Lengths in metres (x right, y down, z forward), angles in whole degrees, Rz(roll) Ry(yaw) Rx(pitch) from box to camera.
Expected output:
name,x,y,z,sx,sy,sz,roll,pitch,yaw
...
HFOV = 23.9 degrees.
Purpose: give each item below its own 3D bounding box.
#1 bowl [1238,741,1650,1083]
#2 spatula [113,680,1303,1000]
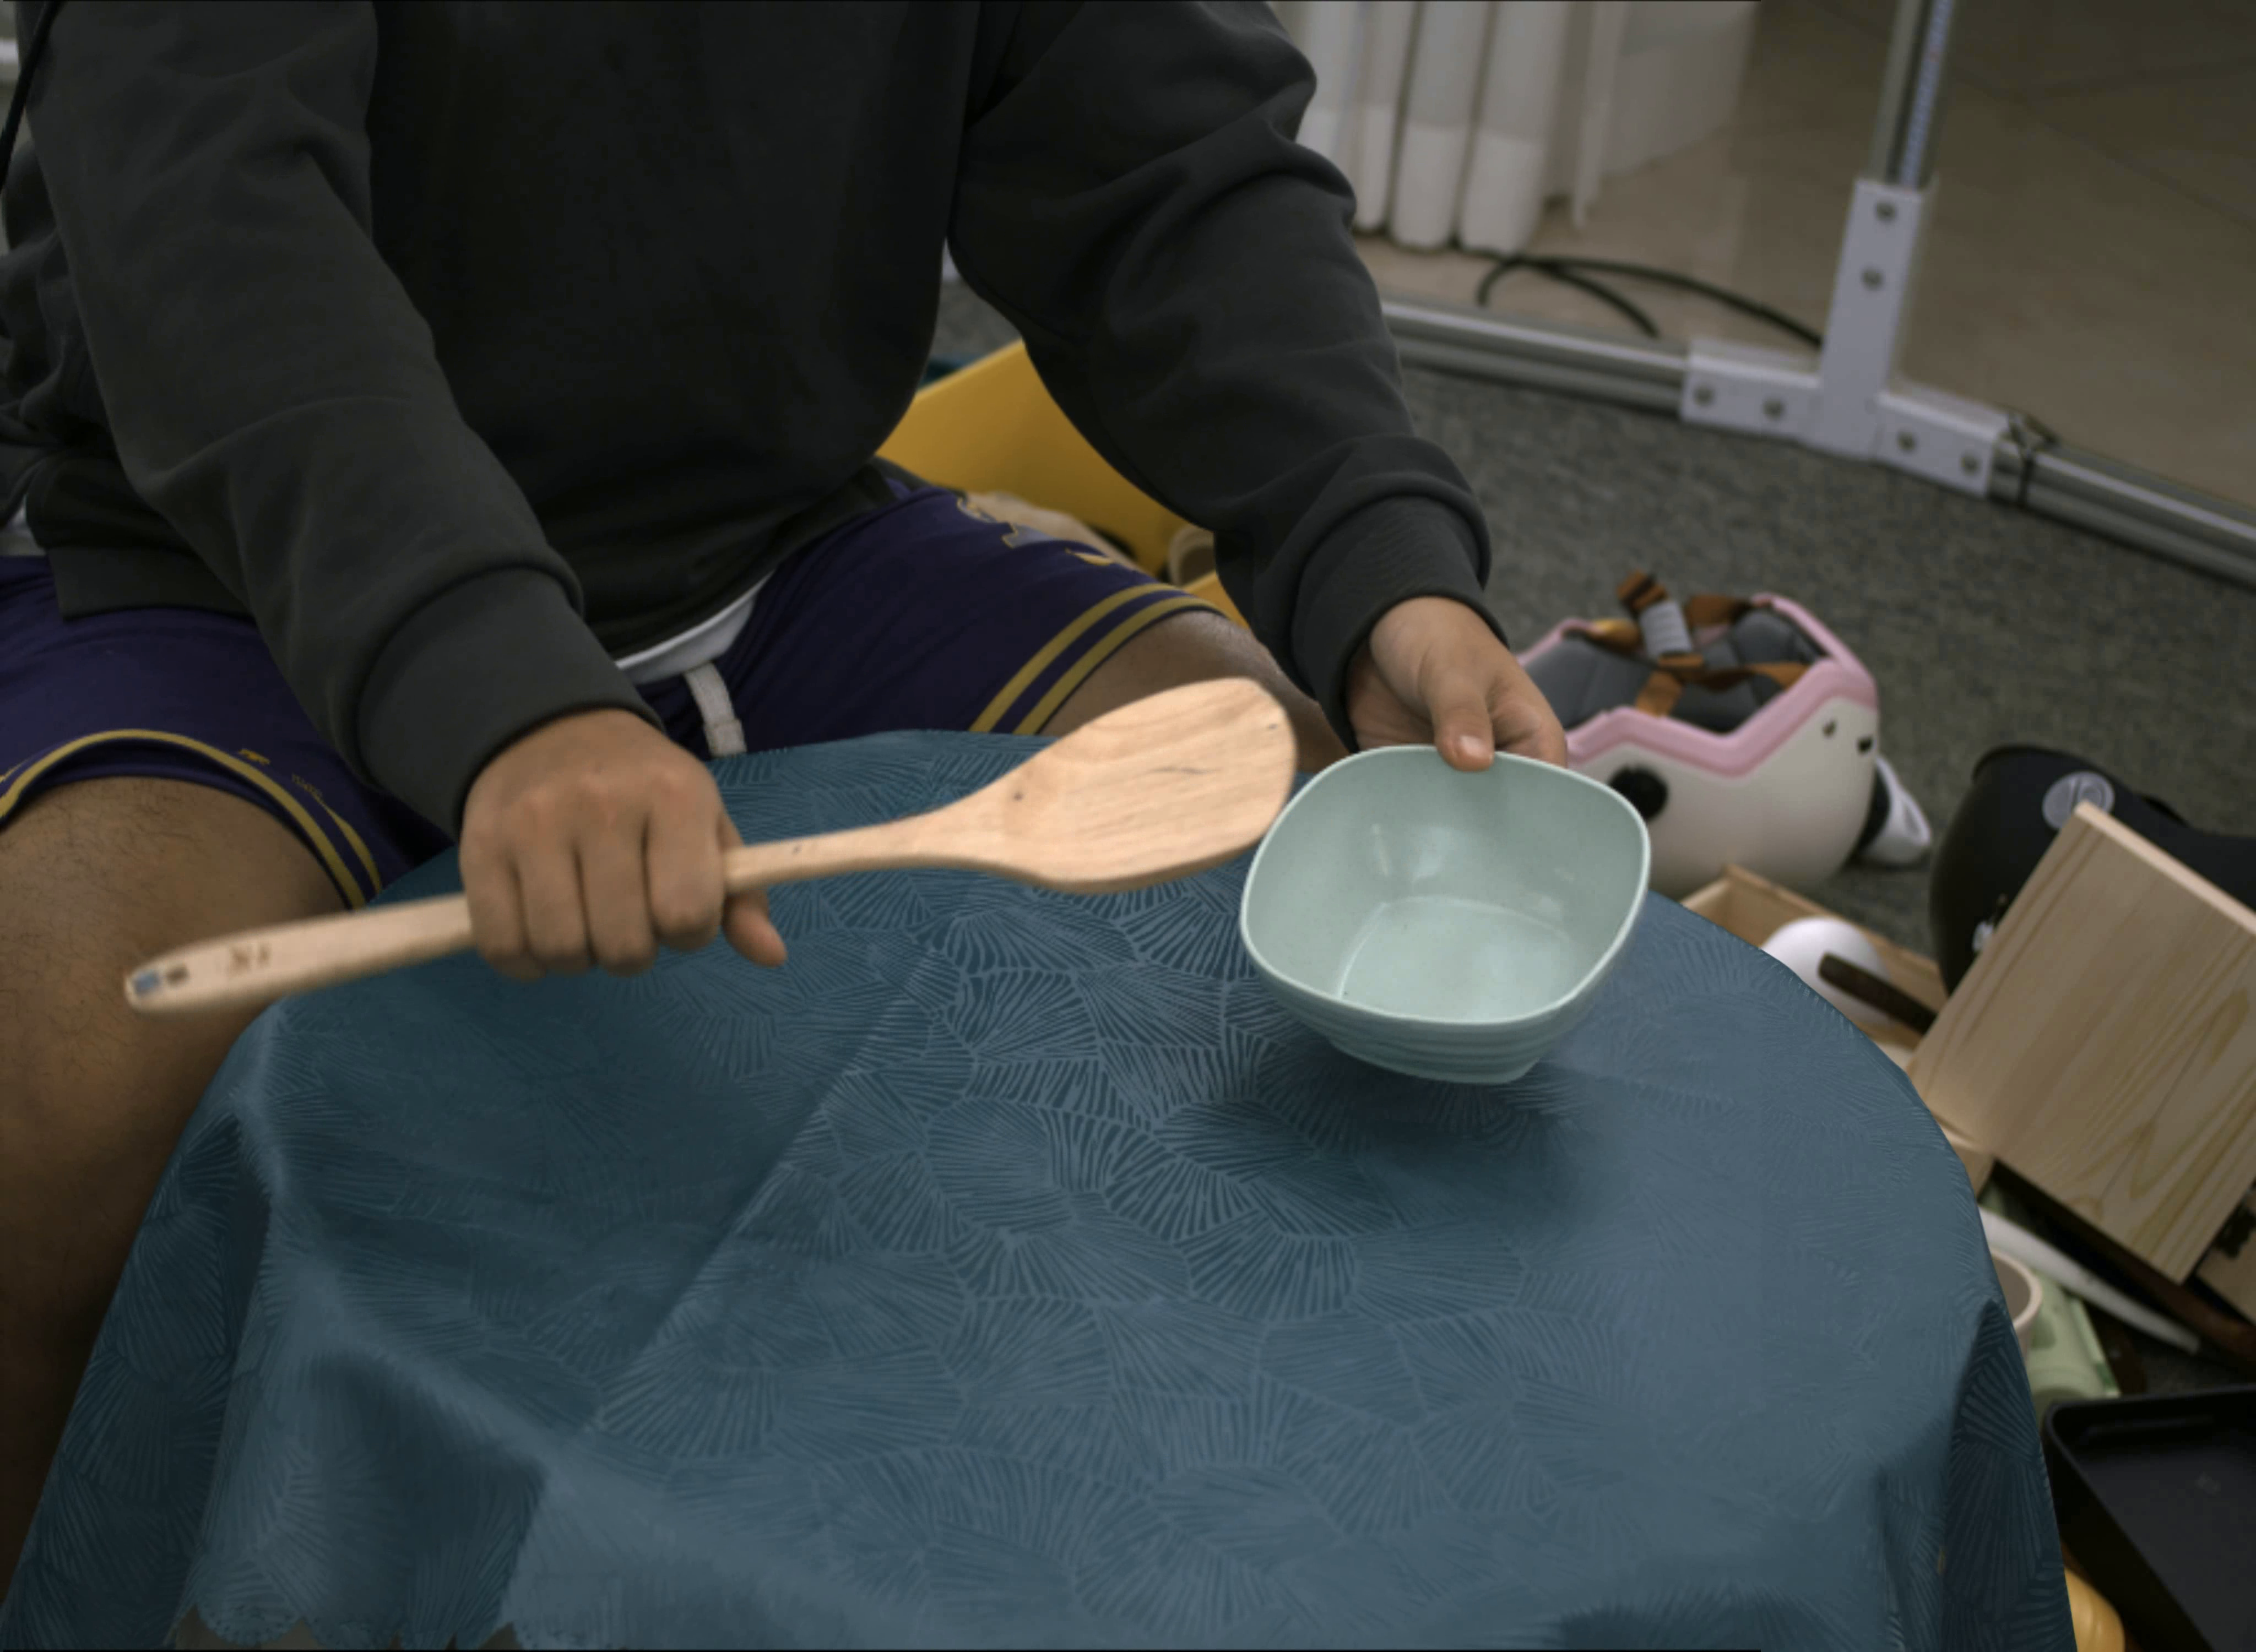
name,x,y,z,sx,sy,sz,roll,pitch,yaw
bowl,0.113,0.039,1.877,0.151,0.058,0.152,-4,43,3
spatula,-0.135,0.015,1.681,0.390,0.018,0.096,-10,35,6
